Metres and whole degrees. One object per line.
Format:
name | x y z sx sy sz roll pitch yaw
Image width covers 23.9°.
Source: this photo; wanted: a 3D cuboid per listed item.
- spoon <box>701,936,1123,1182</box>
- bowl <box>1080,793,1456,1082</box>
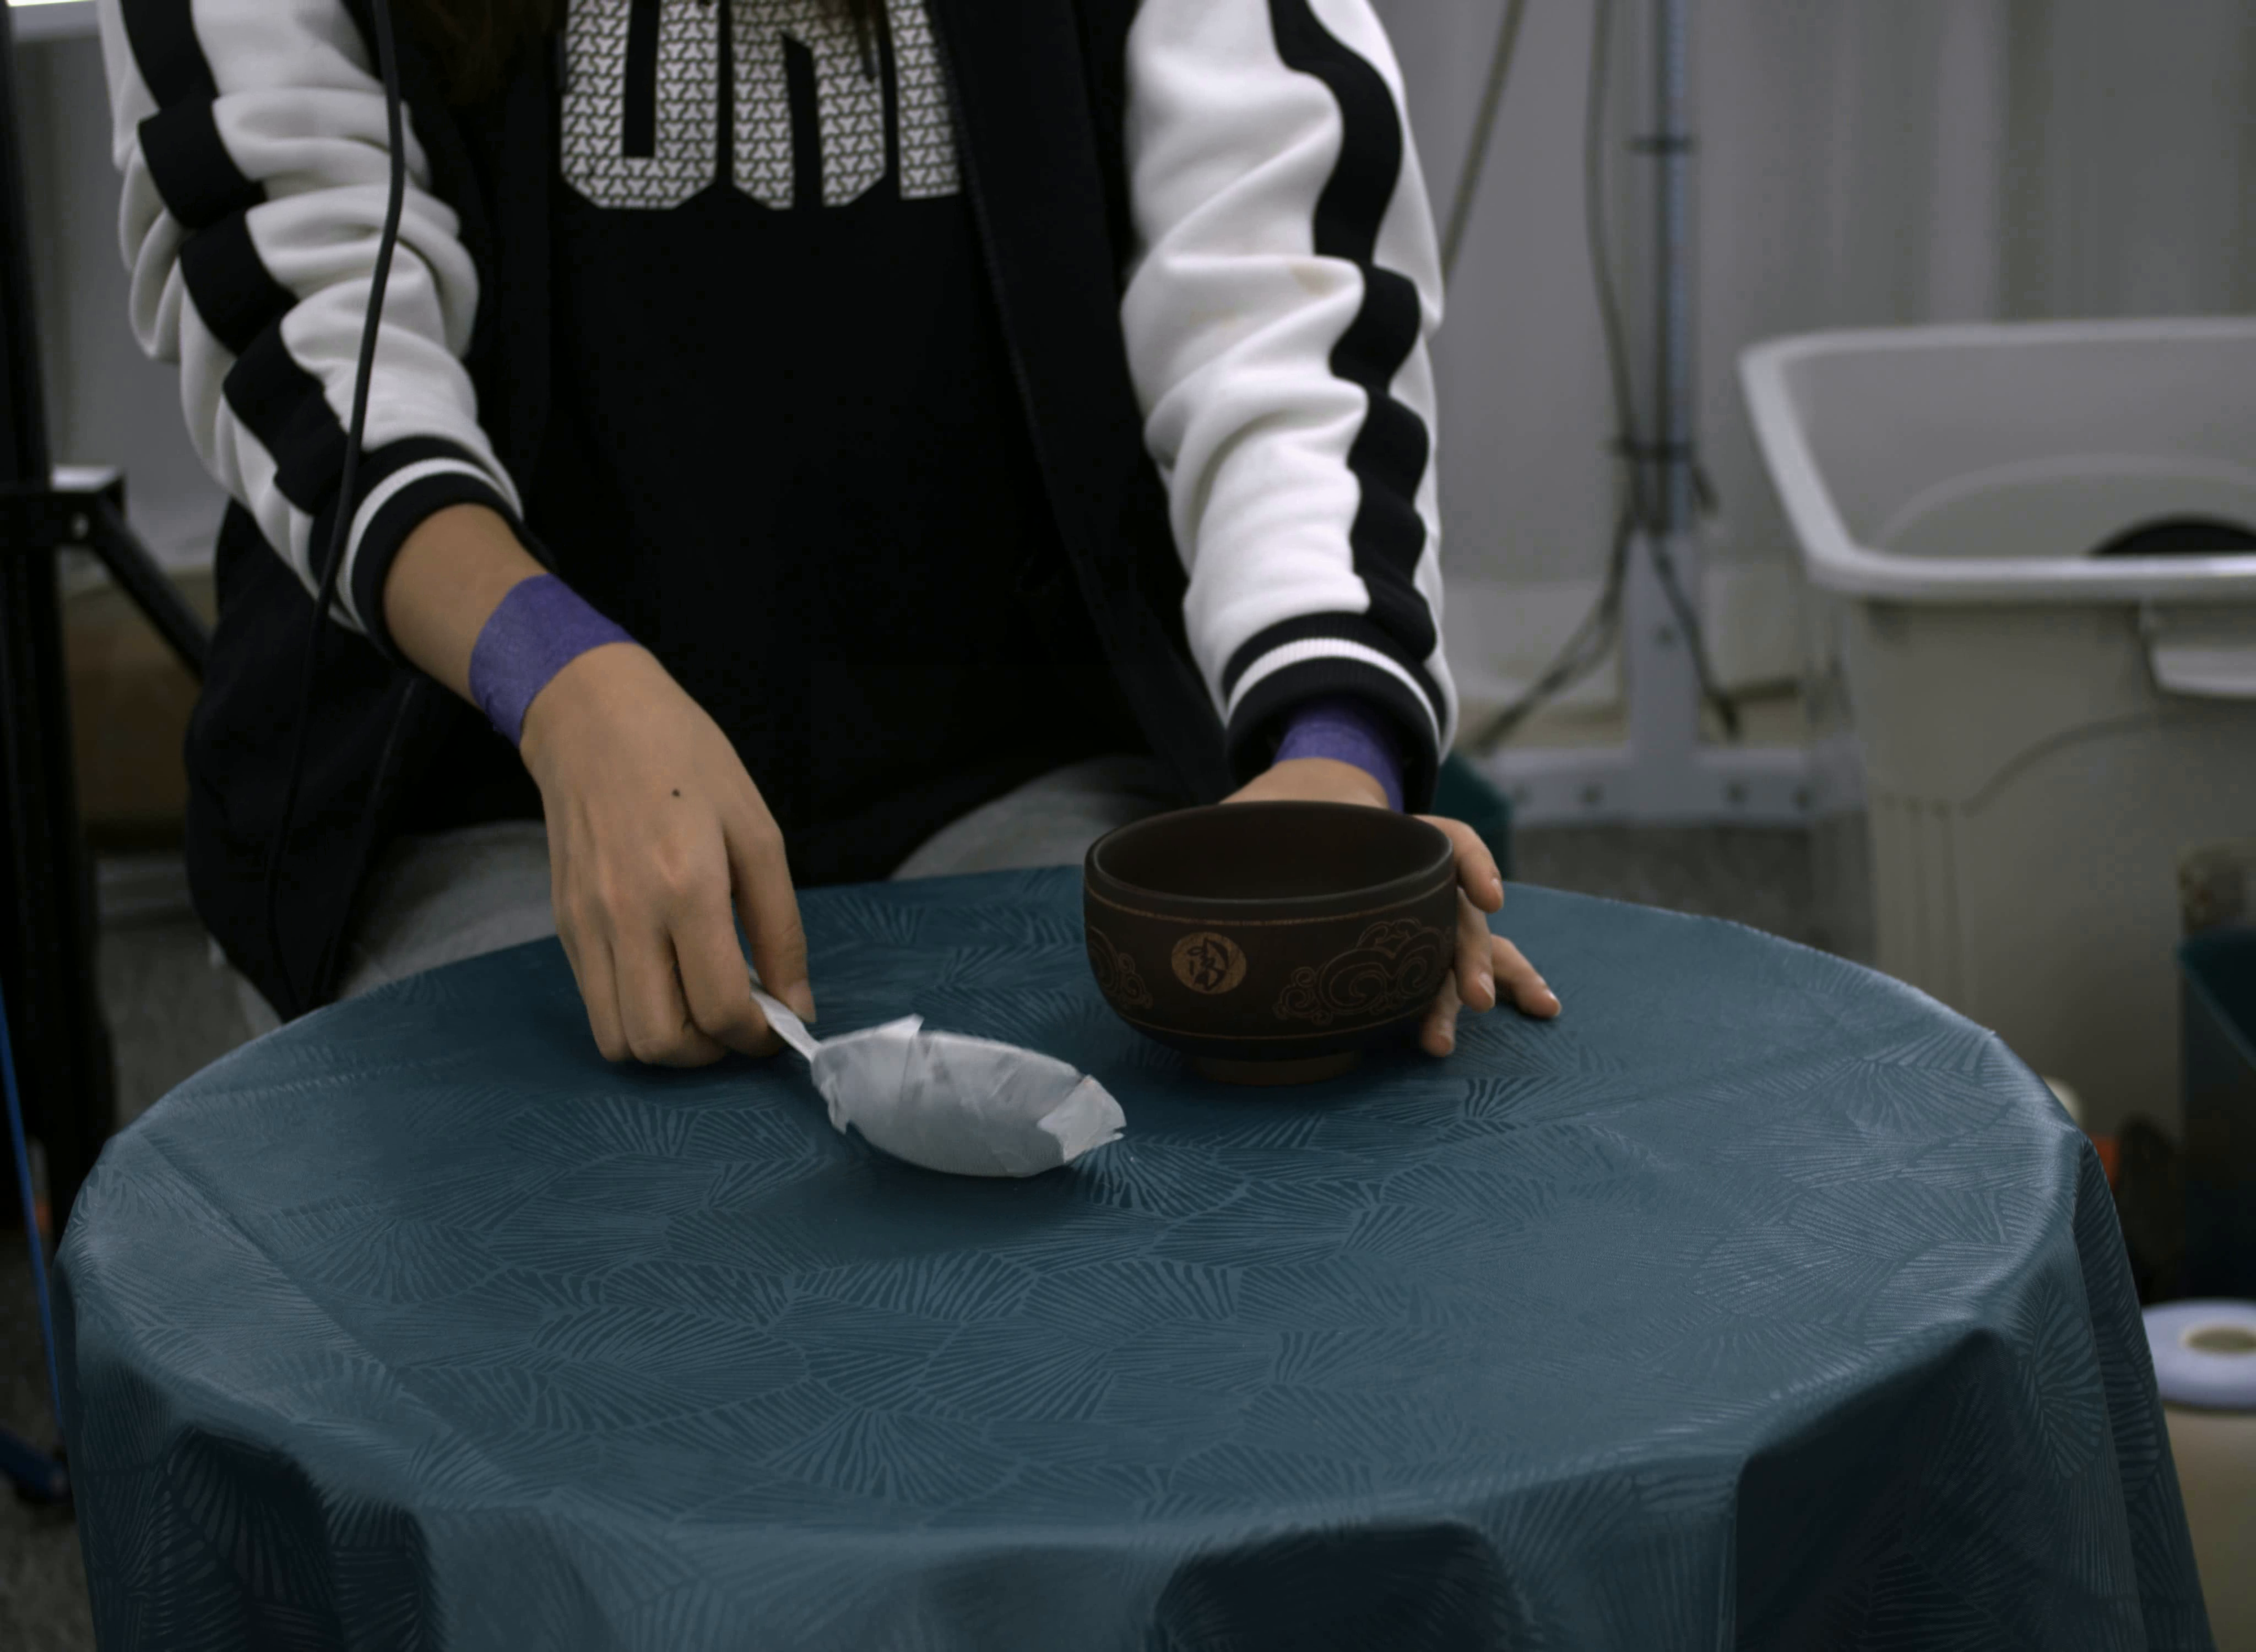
spoon | -0.075 0.054 1.649 0.099 0.059 0.282 31 3 -23
bowl | 0.044 0.039 1.662 0.117 0.070 0.118 -2 16 -1
